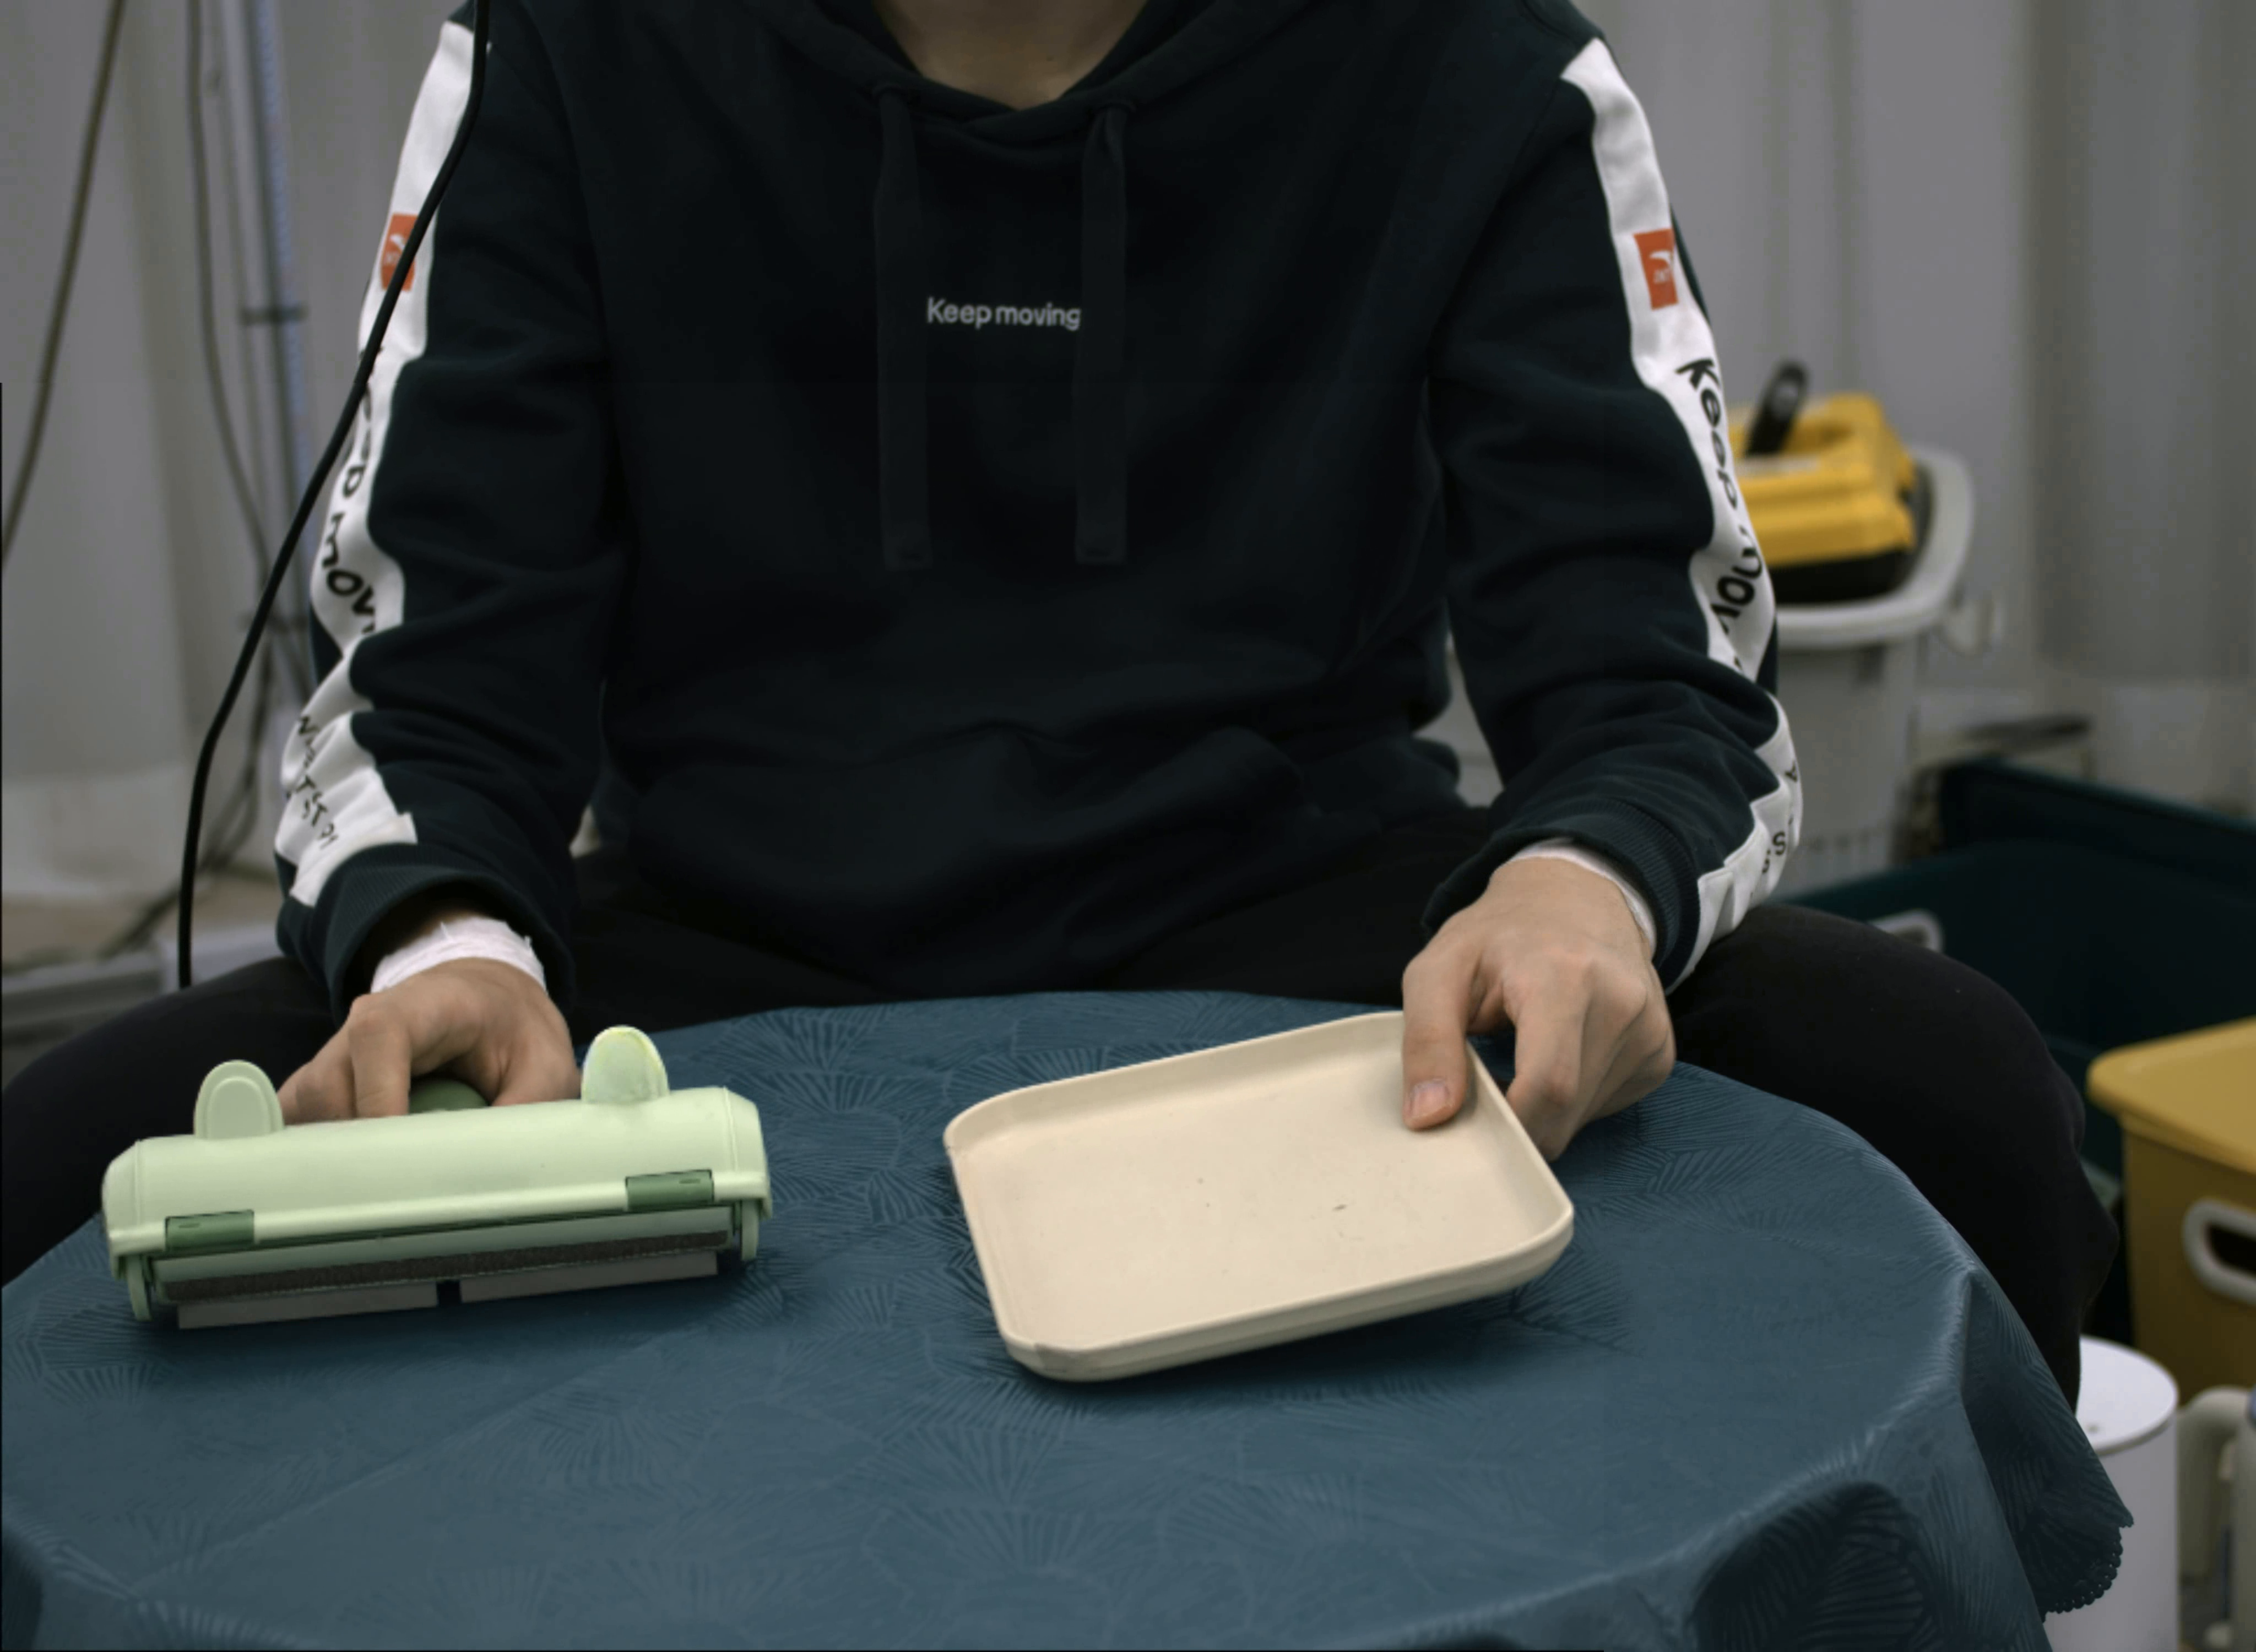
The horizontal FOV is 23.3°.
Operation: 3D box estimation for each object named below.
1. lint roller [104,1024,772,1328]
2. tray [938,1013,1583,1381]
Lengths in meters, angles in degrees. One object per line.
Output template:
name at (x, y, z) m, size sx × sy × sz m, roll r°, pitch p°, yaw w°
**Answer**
lint roller at (-0.215, 0.090, 1.695) m, size 0.198 × 0.082 × 0.185 m, roll -6°, pitch 19°, yaw -7°
tray at (0.036, 0.111, 1.652) m, size 0.171 × 0.017 × 0.241 m, roll -12°, pitch 16°, yaw -5°
